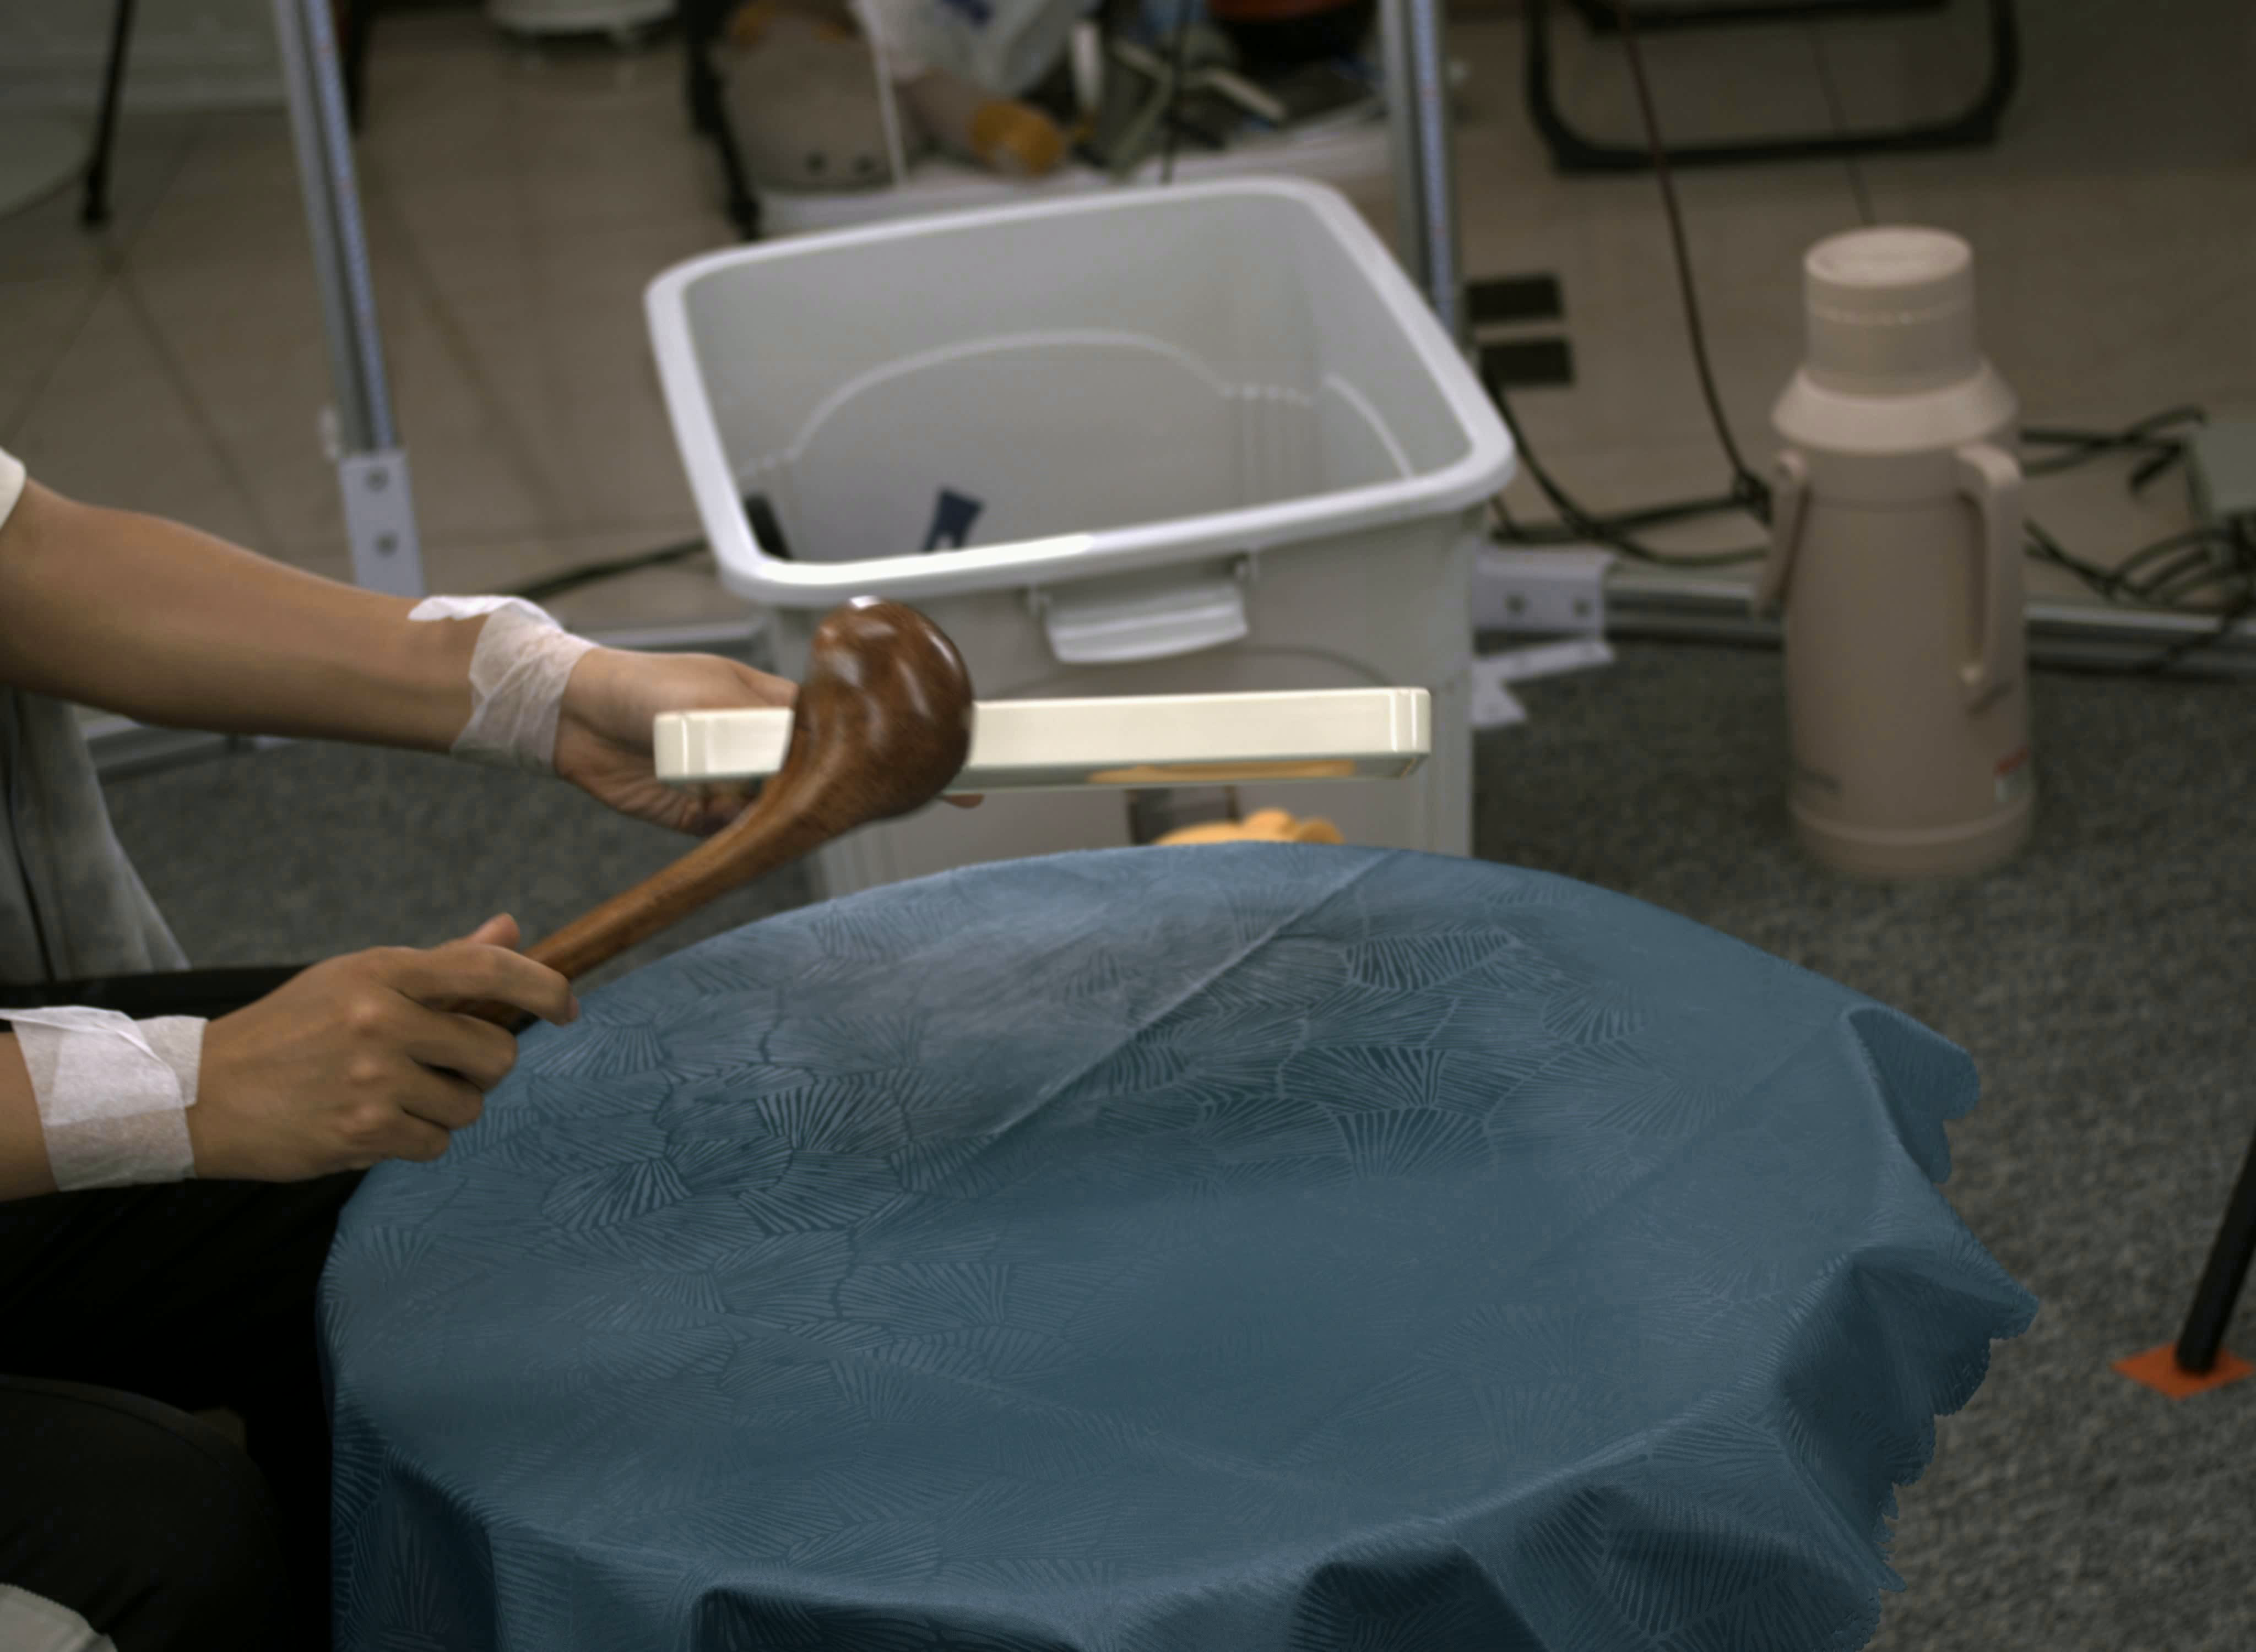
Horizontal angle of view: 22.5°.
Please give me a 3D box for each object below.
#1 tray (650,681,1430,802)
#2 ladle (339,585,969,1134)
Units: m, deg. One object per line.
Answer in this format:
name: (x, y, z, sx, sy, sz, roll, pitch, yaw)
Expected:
tray: (-0.033, -0.033, 2.247, 0.300, 0.027, 0.192, -2, -3, 1)
ladle: (-0.177, 0.011, 2.052, 0.275, 0.083, 0.075, -33, 30, 12)
